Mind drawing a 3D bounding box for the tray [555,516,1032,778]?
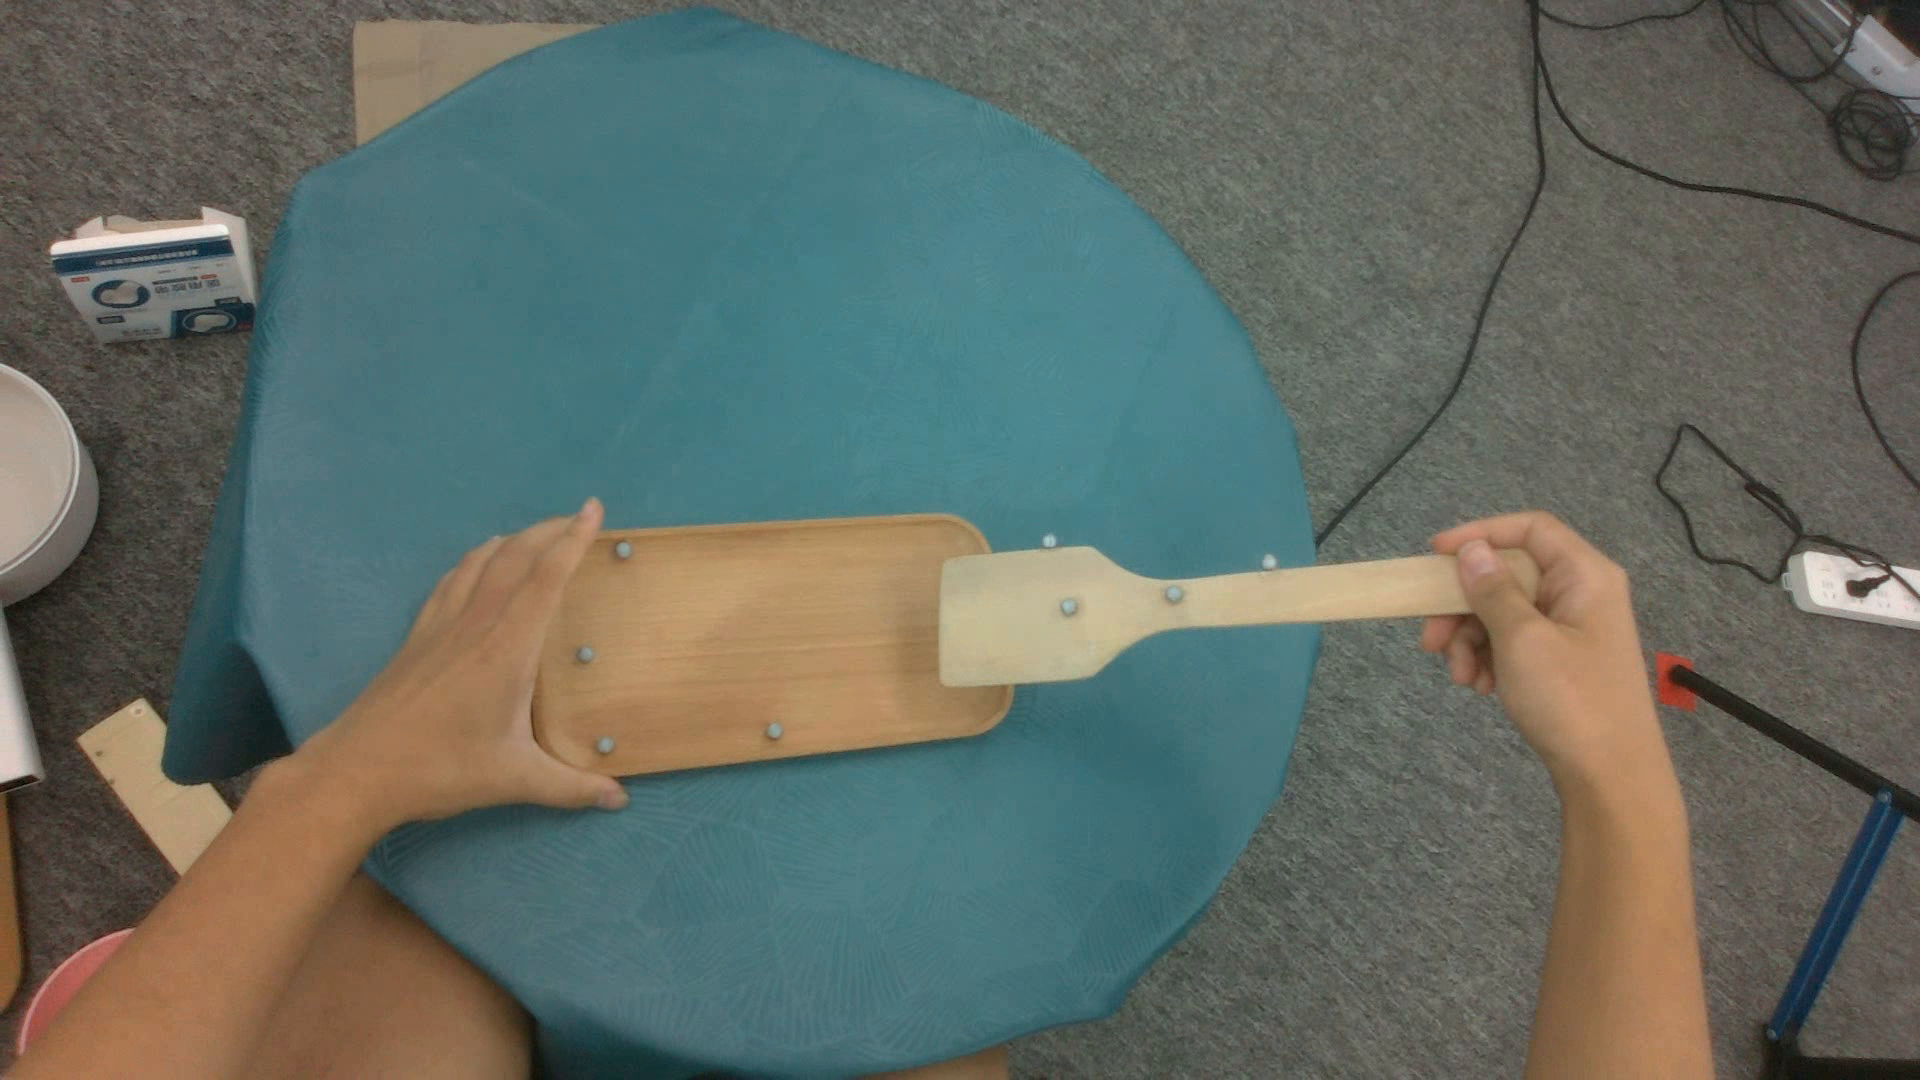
[{"bbox_3d":[-0.086,0.054,0.742,0.251,0.023,0.131,-3,74,-18],"label":"tray"}]

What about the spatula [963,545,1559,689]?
[{"bbox_3d":[0.136,0.029,0.677,0.292,0.010,0.072,-7,73,24],"label":"spatula"}]
